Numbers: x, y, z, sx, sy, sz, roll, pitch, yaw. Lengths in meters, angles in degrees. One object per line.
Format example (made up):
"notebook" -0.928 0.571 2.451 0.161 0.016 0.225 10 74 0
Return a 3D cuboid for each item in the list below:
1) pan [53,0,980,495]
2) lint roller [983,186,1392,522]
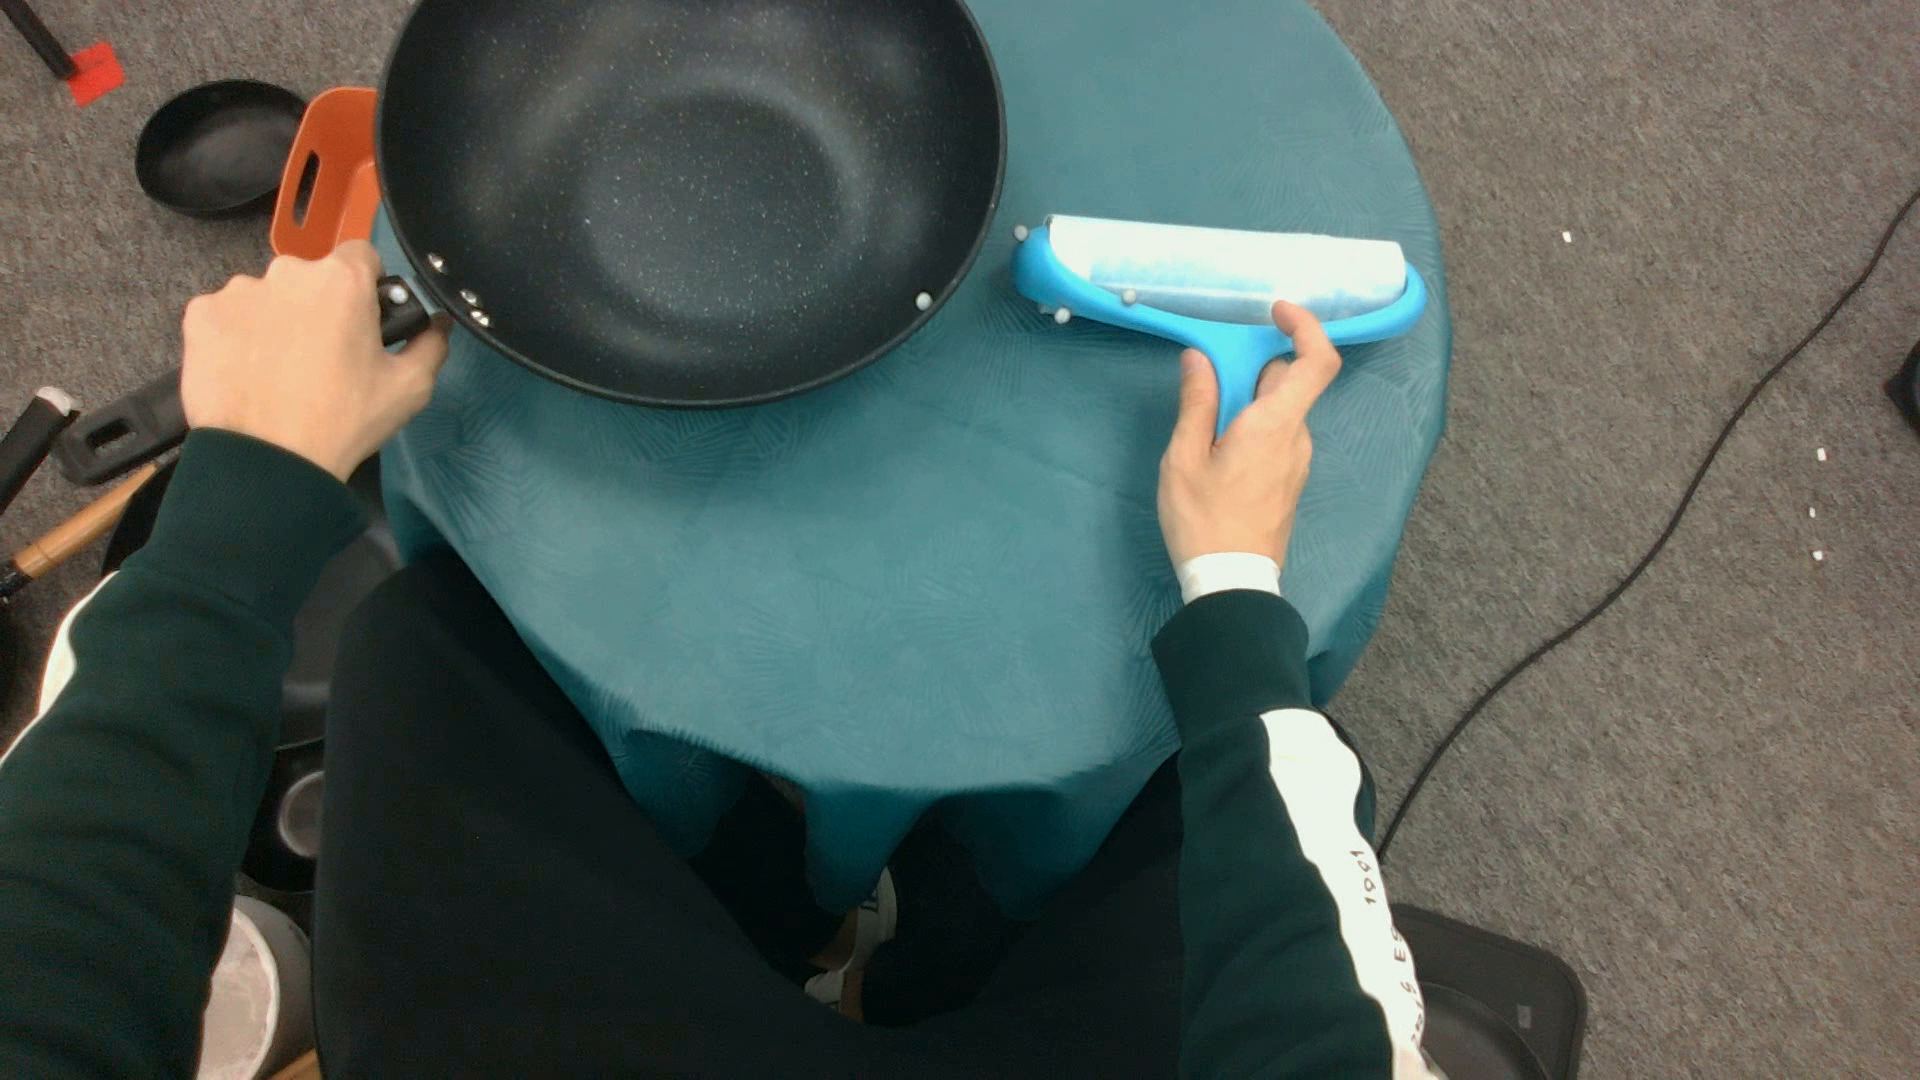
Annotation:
"pan" -0.208 -0.159 0.692 0.478 0.111 0.310 -40 80 -15
"lint roller" 0.130 -0.104 0.735 0.229 0.067 0.180 -1 72 -13
